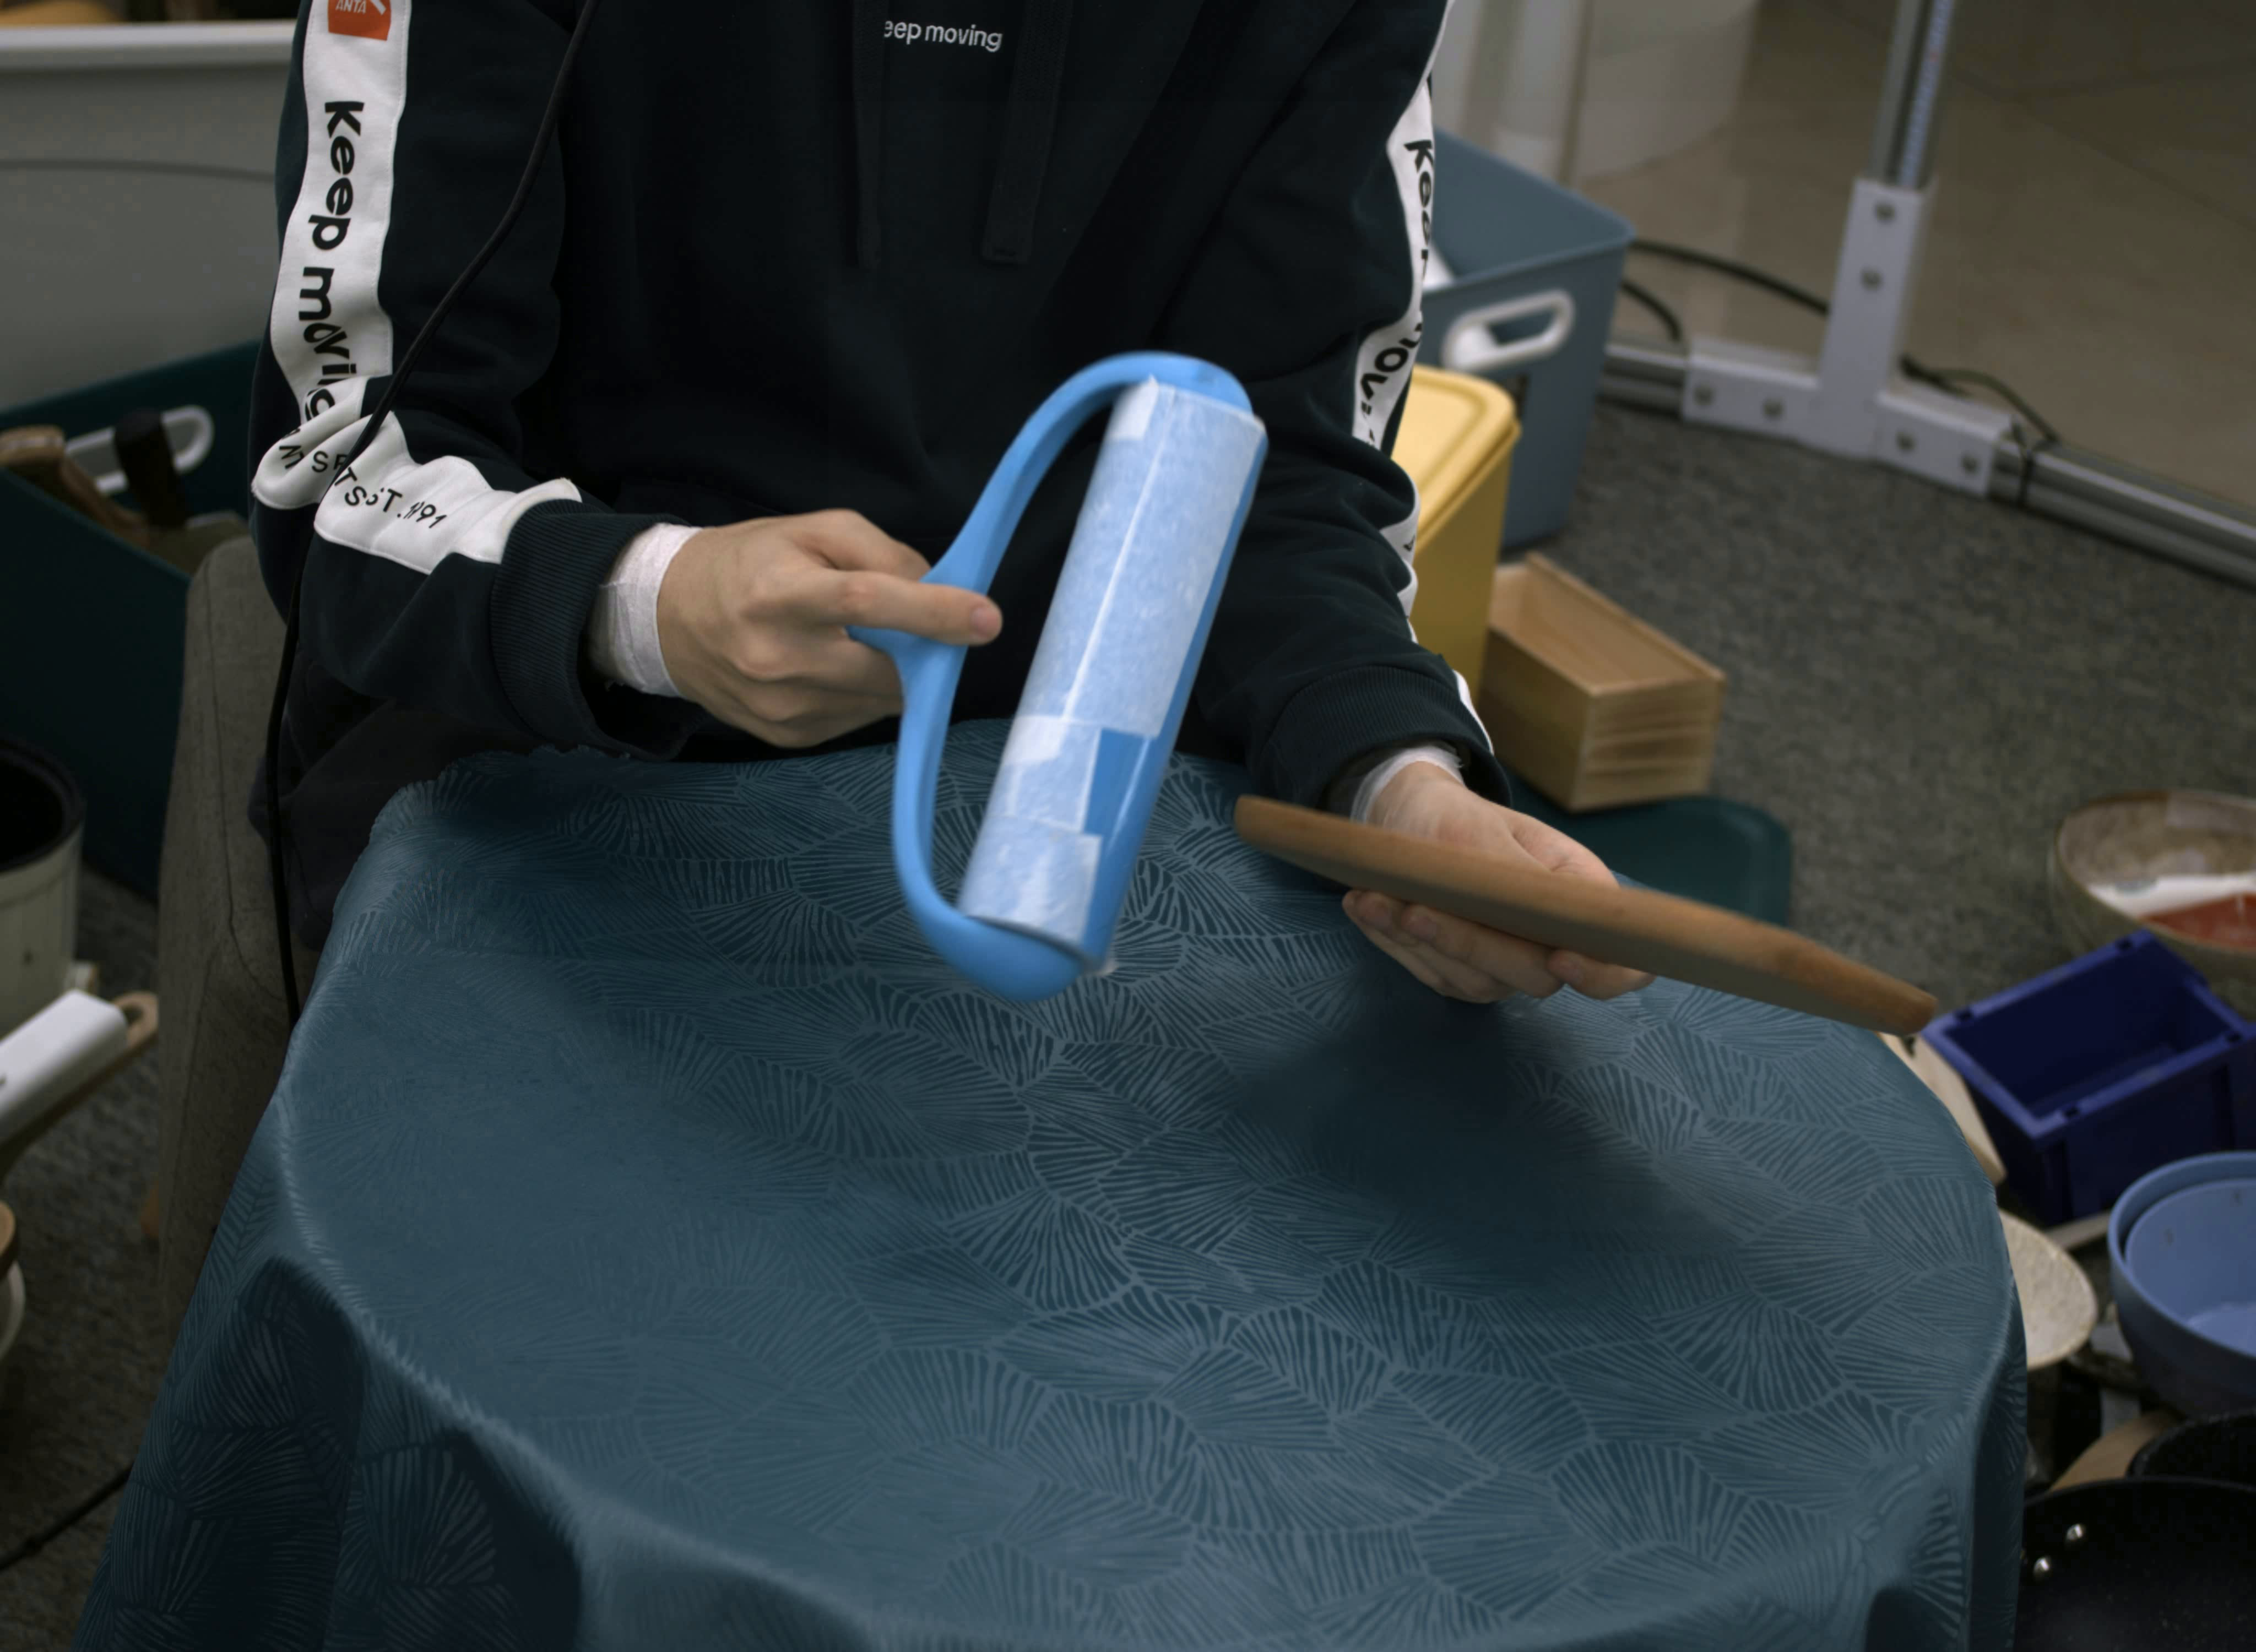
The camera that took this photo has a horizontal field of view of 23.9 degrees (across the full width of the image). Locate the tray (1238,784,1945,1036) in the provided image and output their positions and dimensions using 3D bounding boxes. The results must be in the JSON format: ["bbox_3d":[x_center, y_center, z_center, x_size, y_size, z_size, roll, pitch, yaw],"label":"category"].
[{"bbox_3d":[0.153,0.029,1.812,0.252,0.023,0.129,13,-11,46],"label":"tray"}]

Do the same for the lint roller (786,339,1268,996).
[{"bbox_3d":[-0.055,-0.059,1.811,0.181,0.230,0.067,5,-15,30],"label":"lint roller"}]
